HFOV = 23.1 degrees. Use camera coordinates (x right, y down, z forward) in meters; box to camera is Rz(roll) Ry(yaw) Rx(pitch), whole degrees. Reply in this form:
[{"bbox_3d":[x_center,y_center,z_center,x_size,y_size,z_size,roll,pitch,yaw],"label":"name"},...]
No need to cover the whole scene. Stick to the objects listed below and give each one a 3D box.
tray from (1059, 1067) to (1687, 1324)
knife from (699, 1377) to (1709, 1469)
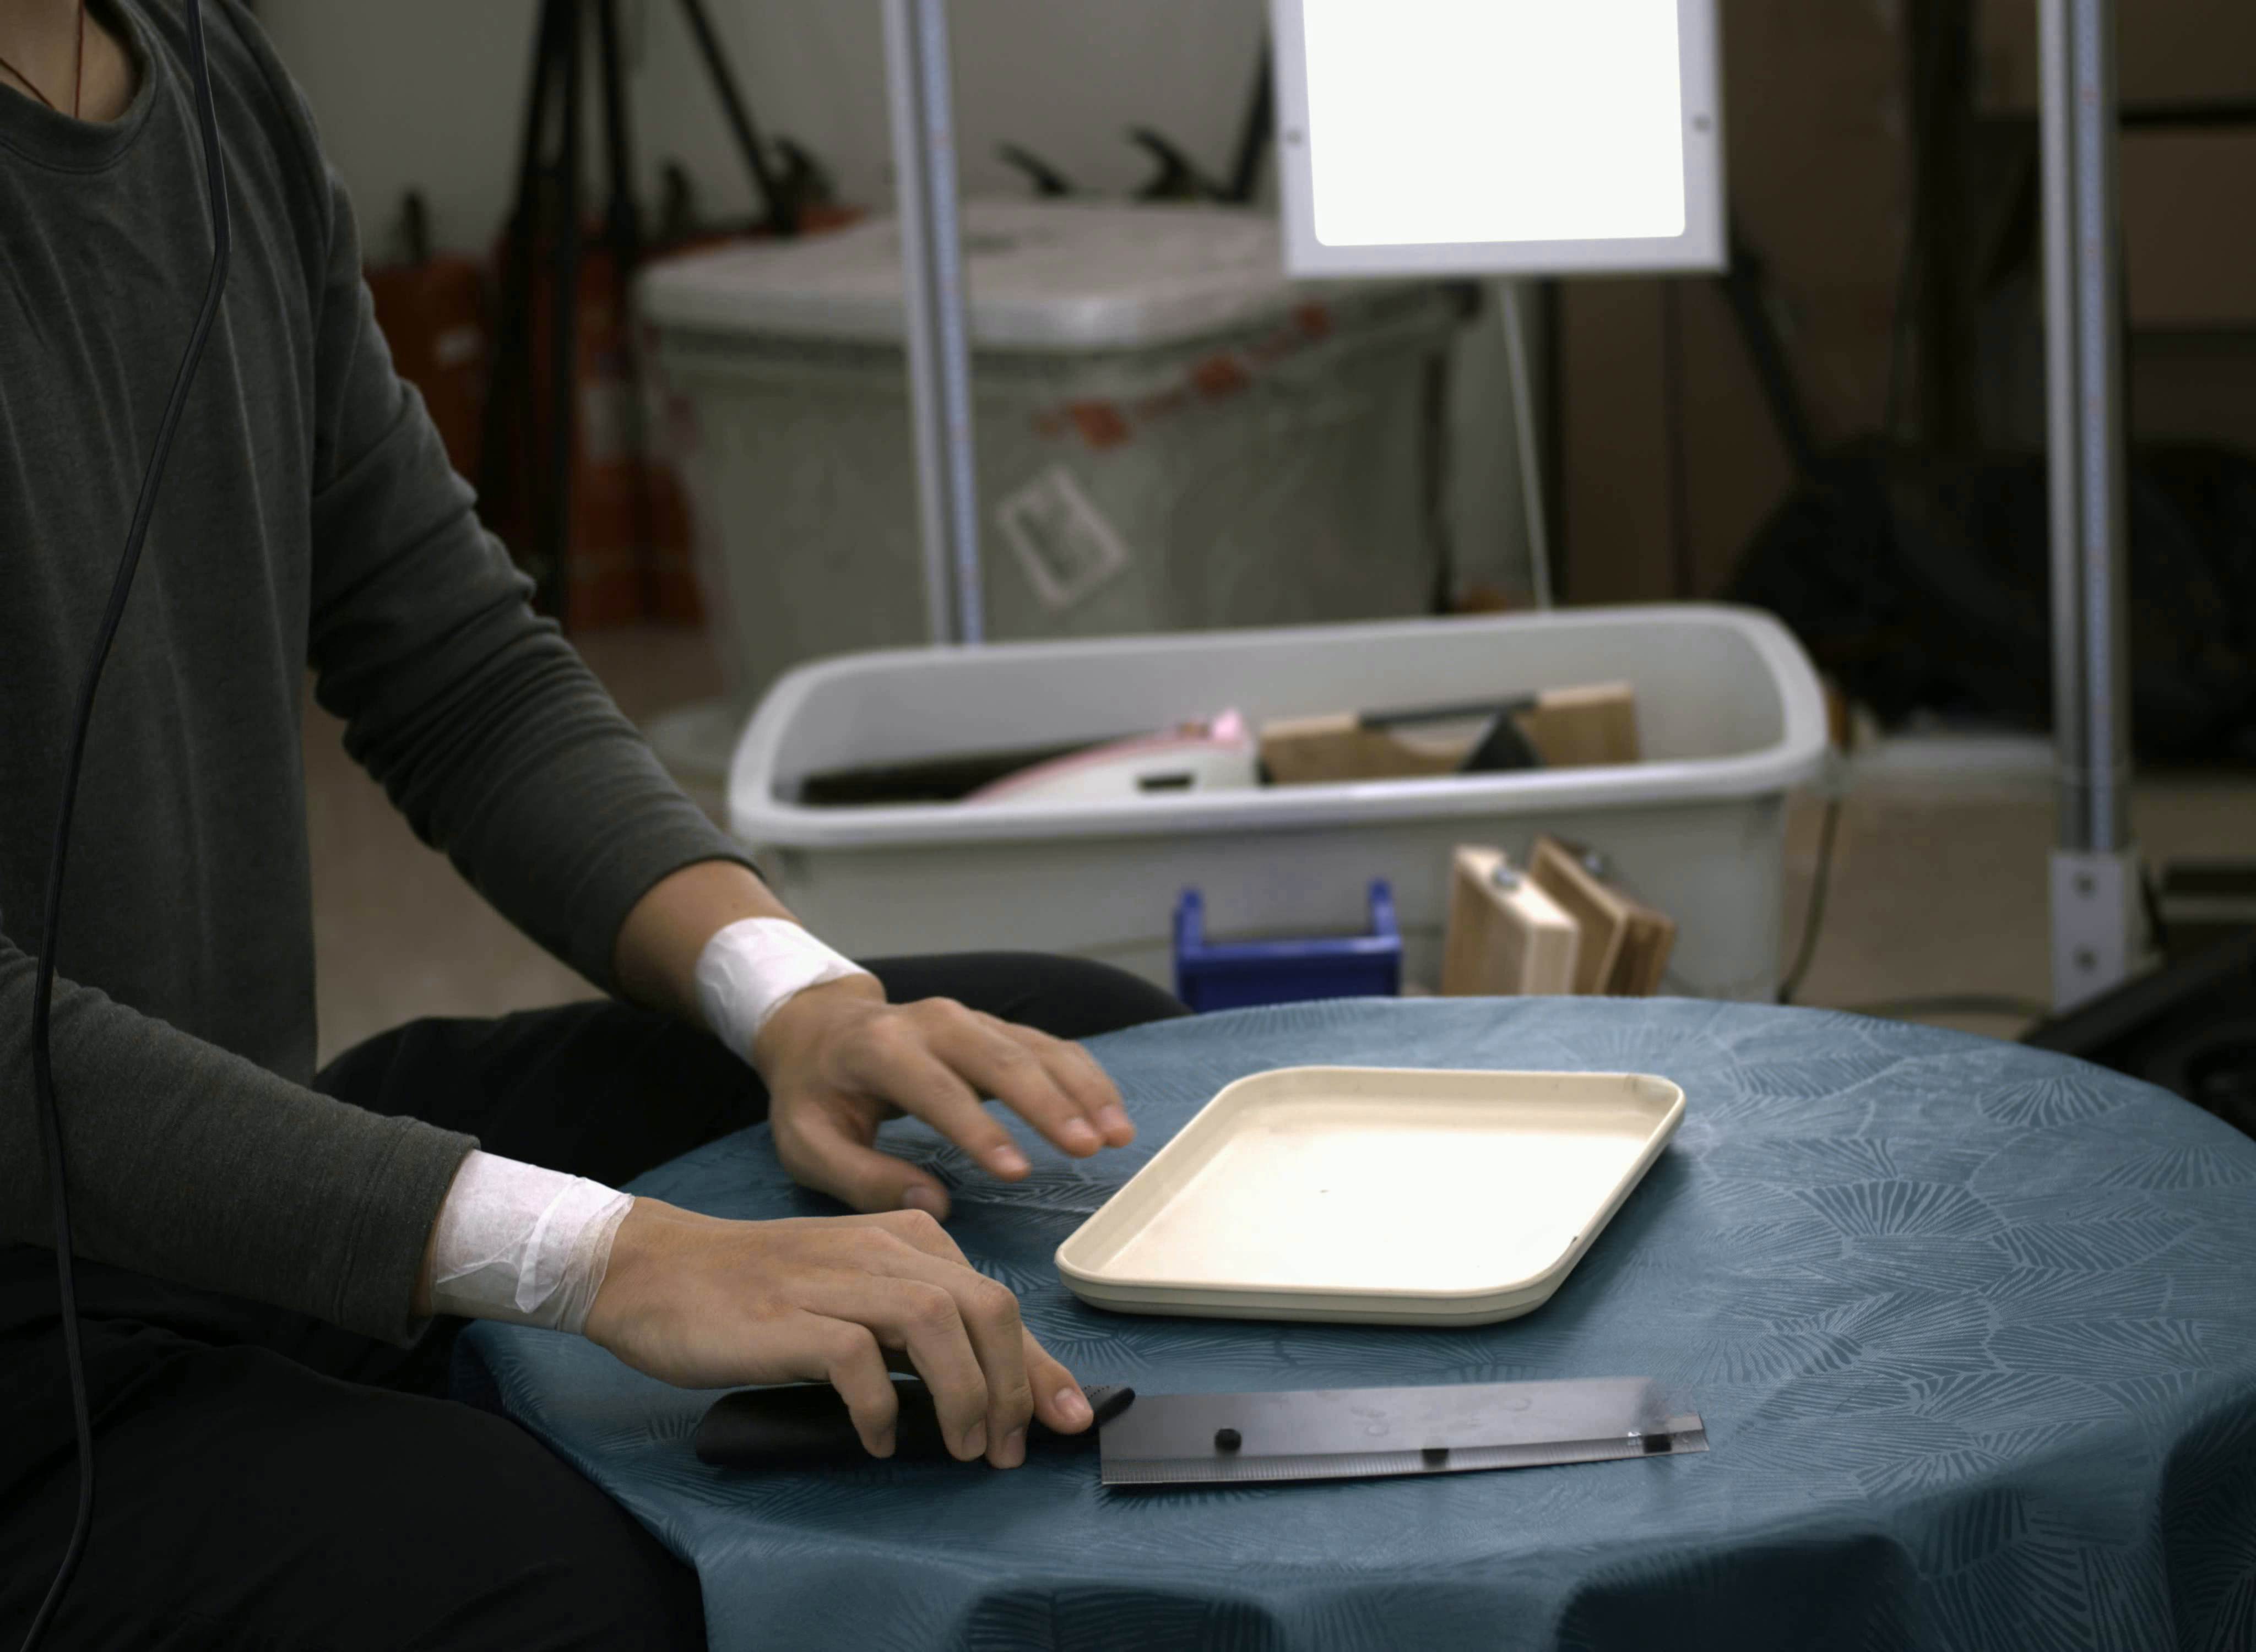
[{"bbox_3d":[0.087,0.123,1.848,0.173,0.017,0.235,-1,14,20],"label":"tray"},{"bbox_3d":[0.023,0.179,1.645,0.303,0.021,0.080,-2,10,7],"label":"knife"}]
